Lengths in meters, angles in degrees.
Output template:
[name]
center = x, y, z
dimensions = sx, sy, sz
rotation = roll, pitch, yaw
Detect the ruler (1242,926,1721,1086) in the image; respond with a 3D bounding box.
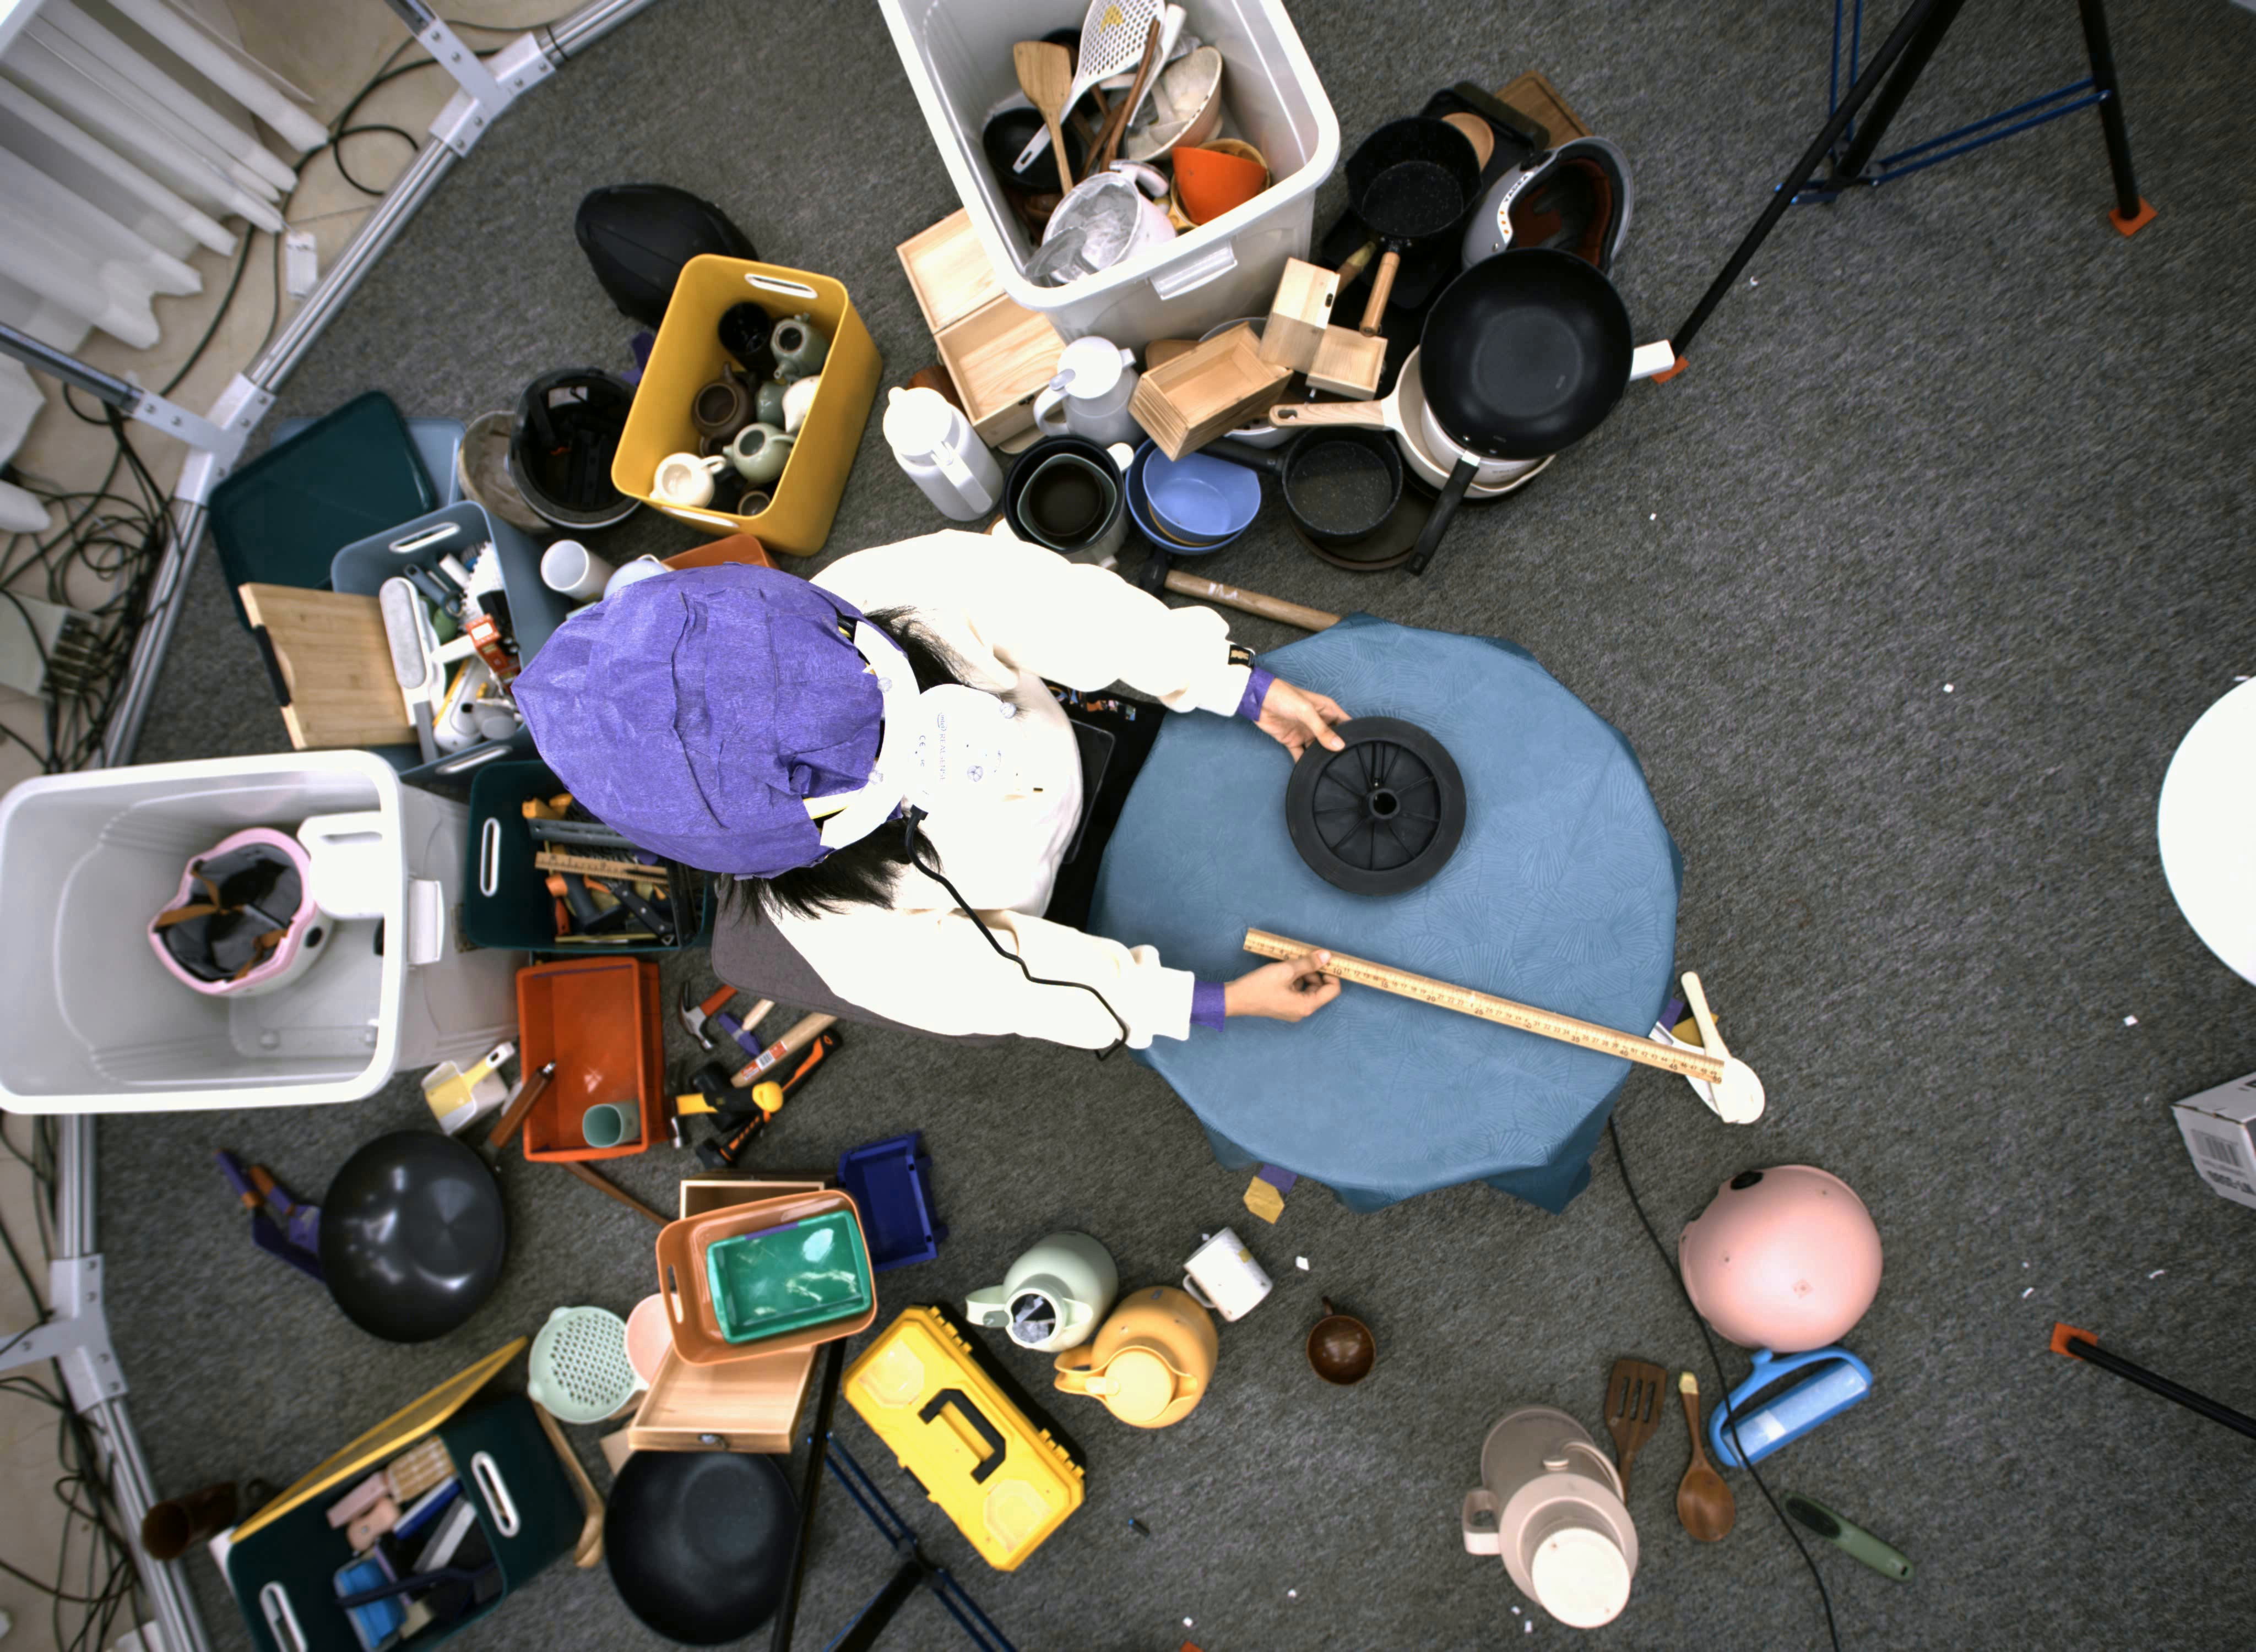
[ruler]
center = 0.361, 0.182, 1.421
dimensions = 0.501, 0.006, 0.026
rotation = 16, 74, 8

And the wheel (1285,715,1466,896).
[wheel]
center = 0.257, -0.024, 1.419
dimensions = 0.188, 0.079, 0.189
rotation = -20, 90, 3
